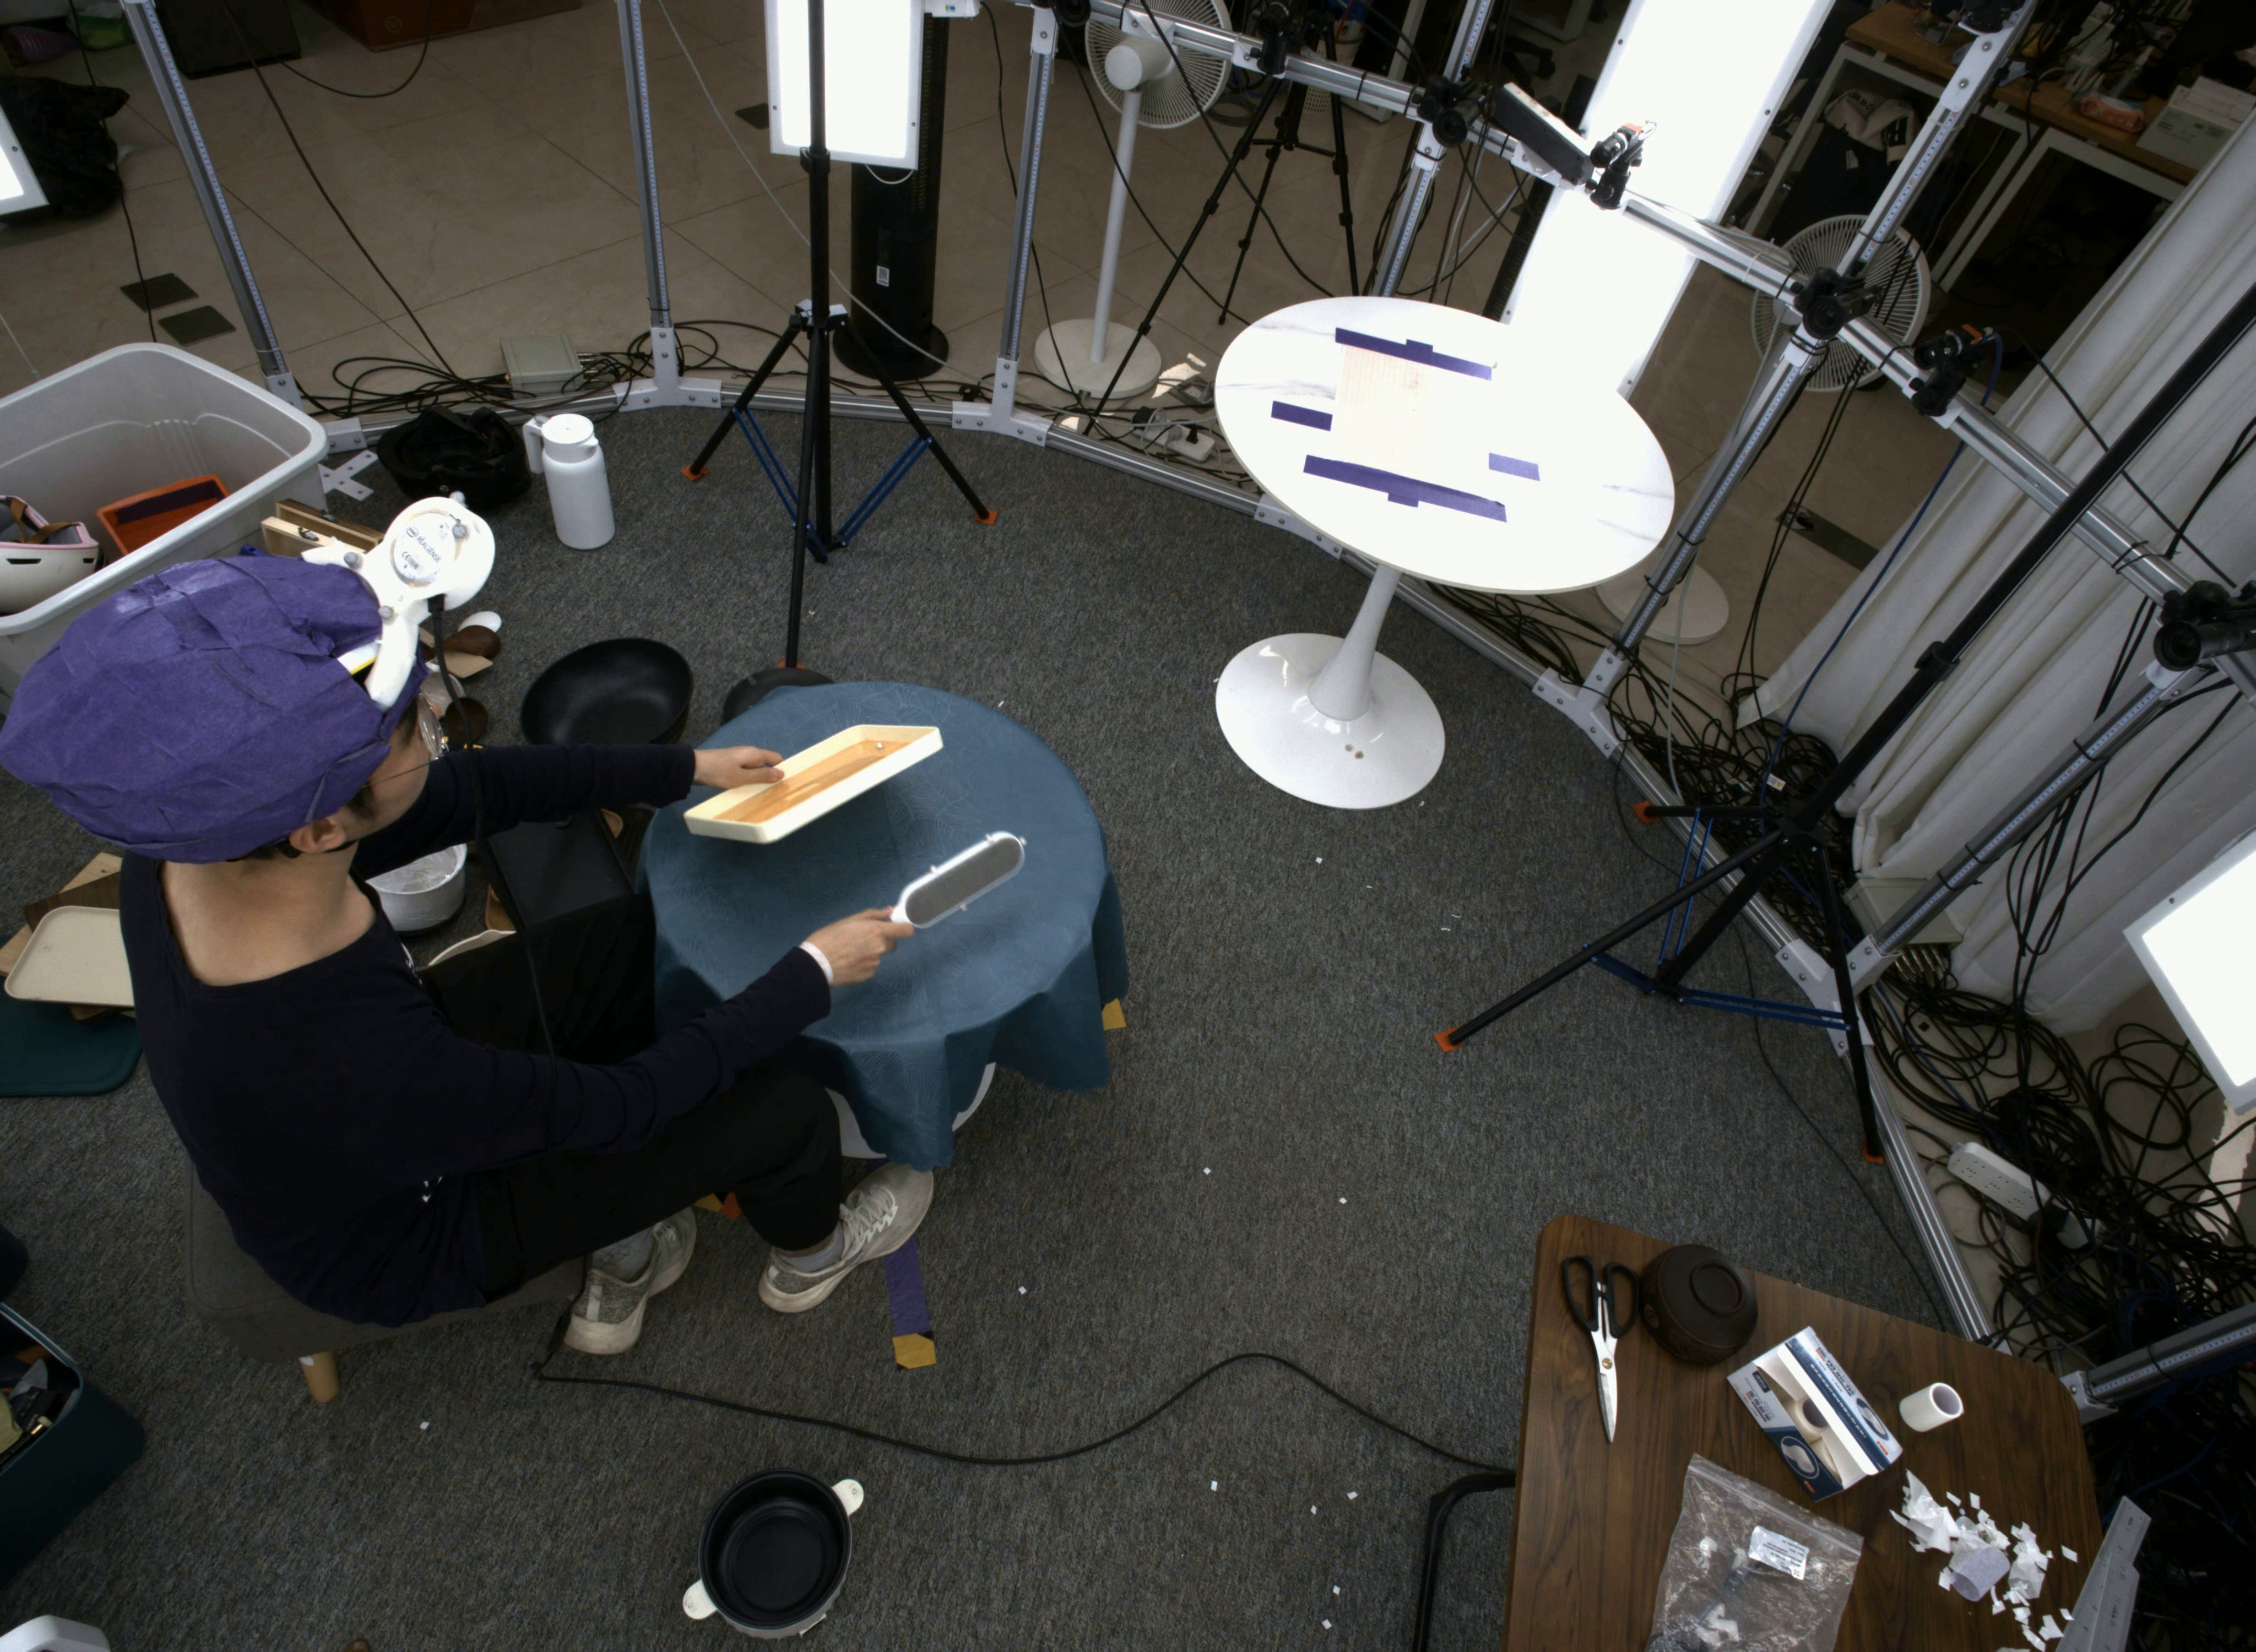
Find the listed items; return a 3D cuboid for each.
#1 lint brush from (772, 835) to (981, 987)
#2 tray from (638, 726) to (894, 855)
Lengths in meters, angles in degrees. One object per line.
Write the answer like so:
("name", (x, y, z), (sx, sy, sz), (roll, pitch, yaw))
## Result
("lint brush", (-0.304, 0.101, 1.591), (0.309, 0.062, 0.020), (-35, 33, -28))
("tray", (-0.457, -0.051, 1.642), (0.185, 0.028, 0.301), (3, 30, 39))
